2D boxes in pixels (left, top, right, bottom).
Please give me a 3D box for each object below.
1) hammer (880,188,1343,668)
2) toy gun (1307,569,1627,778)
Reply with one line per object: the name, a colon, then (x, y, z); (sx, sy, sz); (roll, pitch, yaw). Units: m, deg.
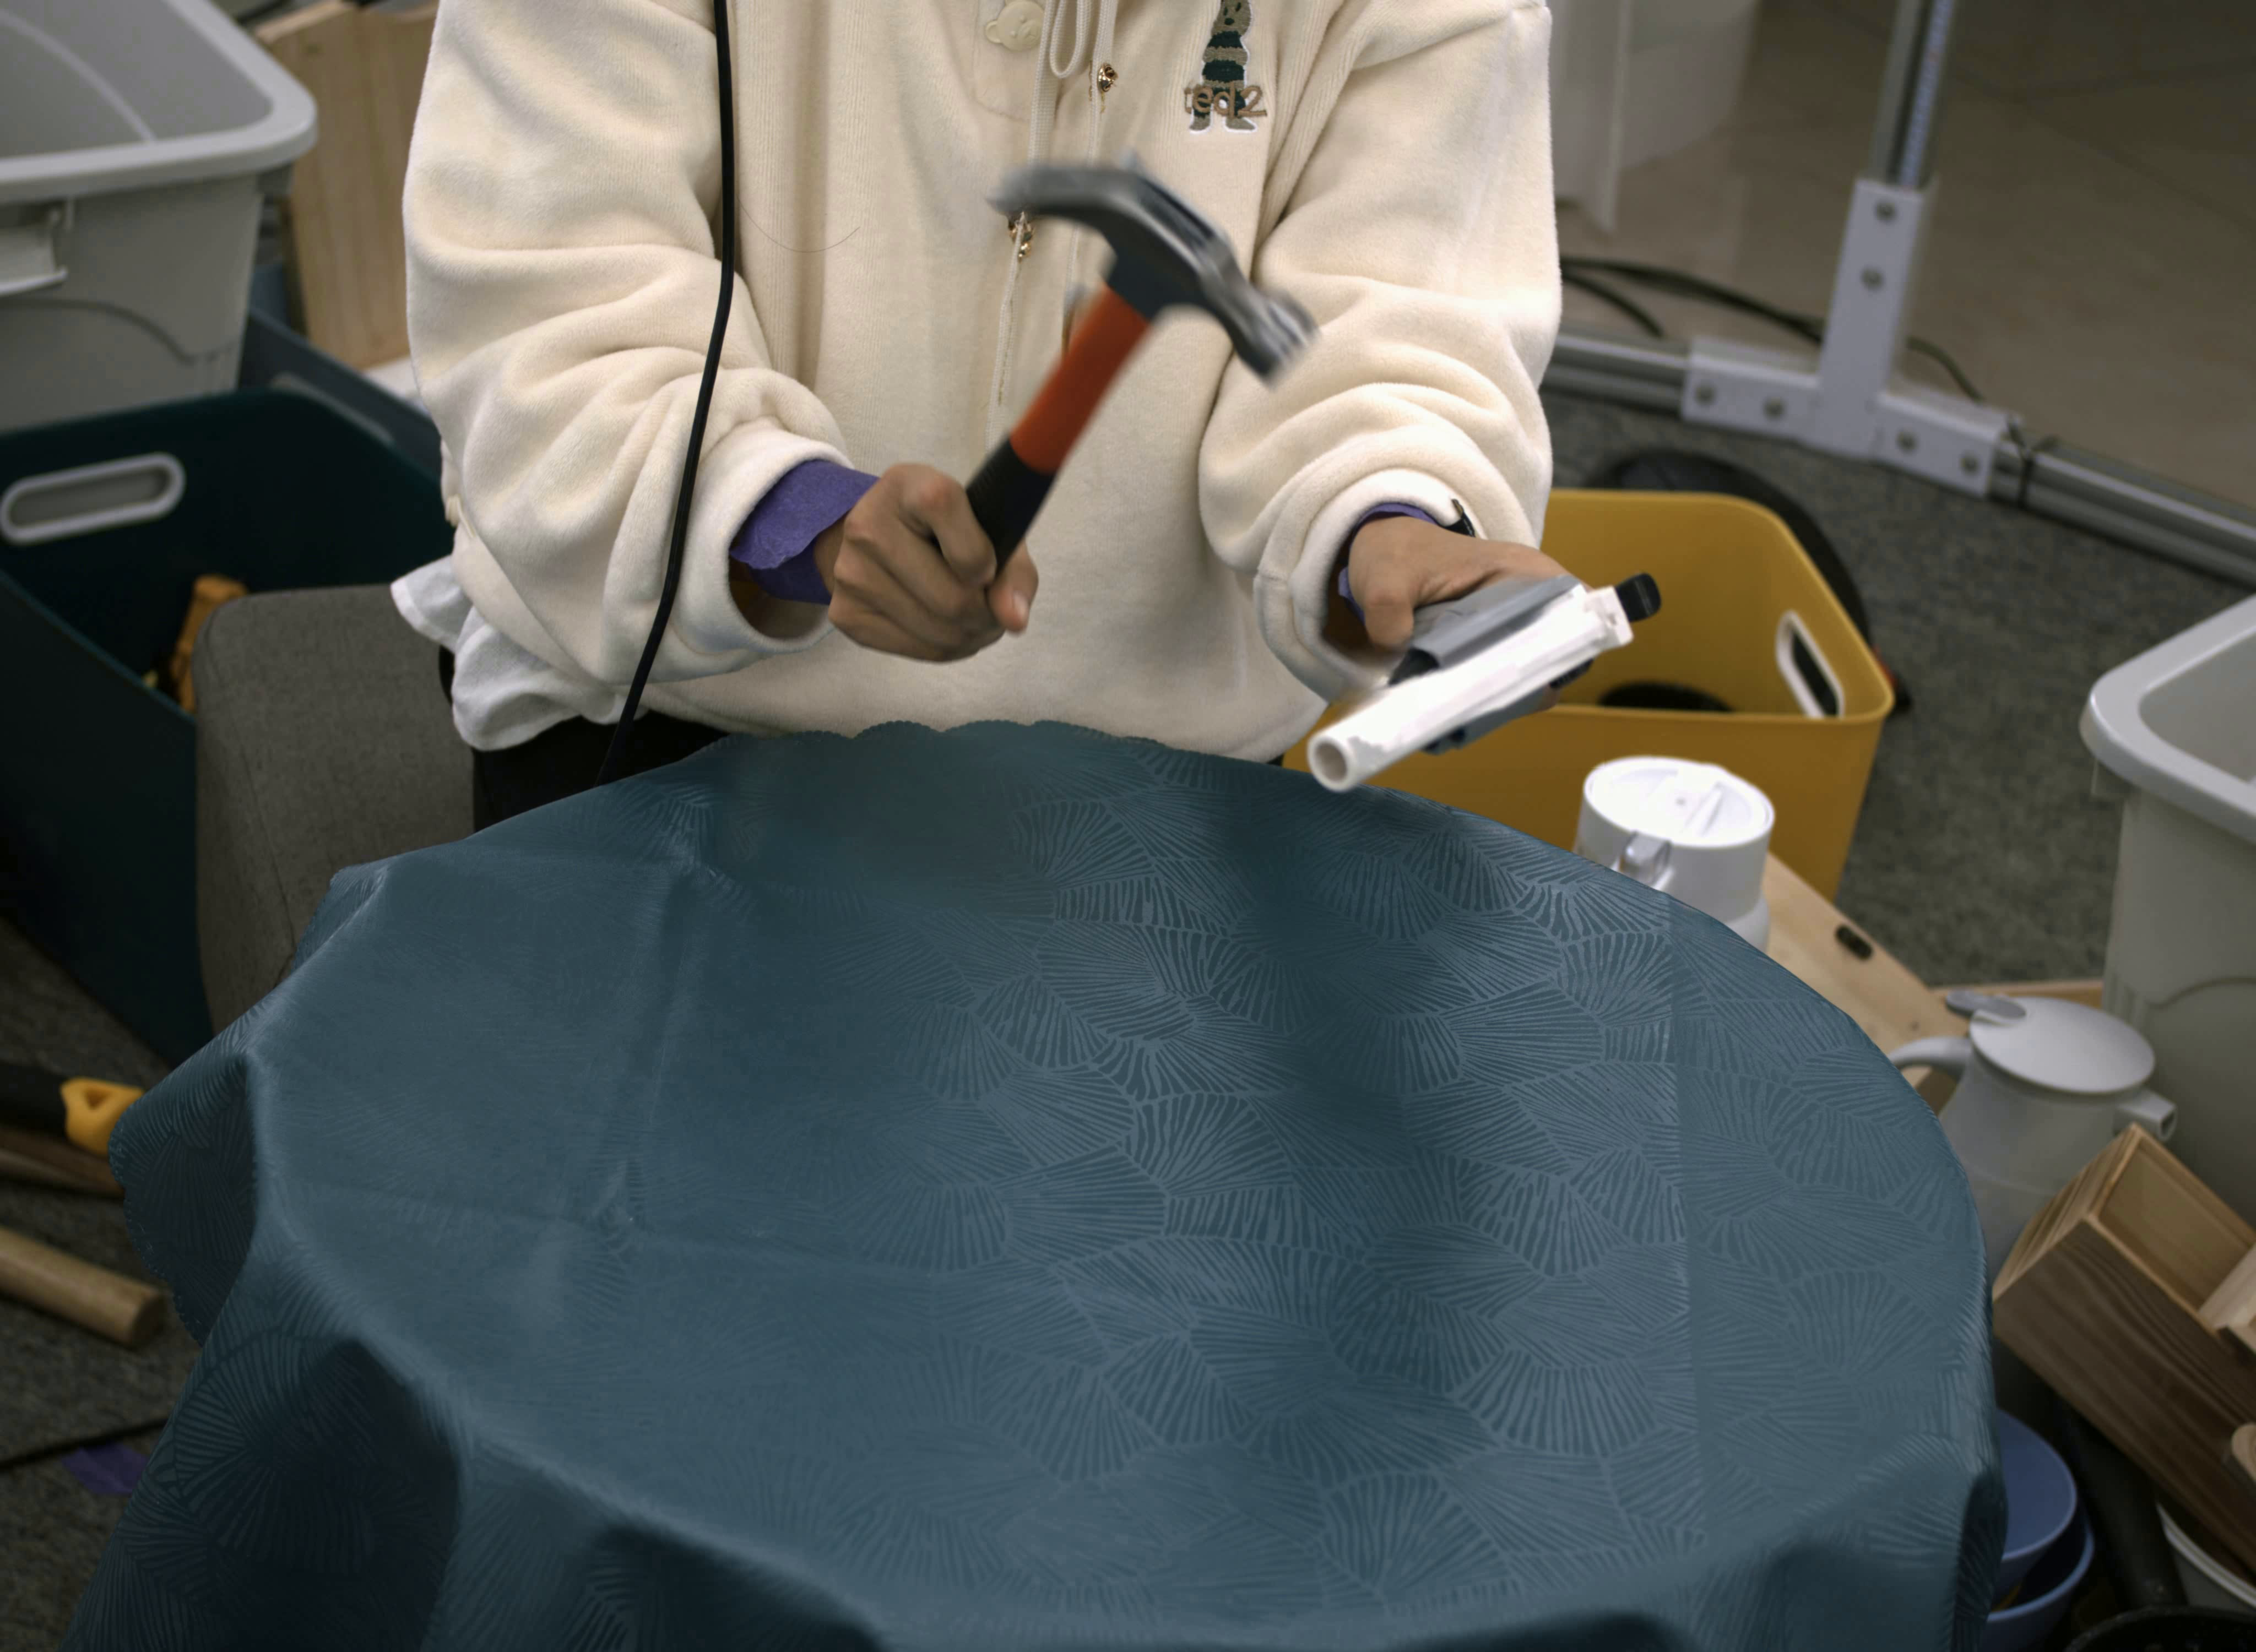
hammer: (-0.027, -0.128, 1.813); (0.110, 0.277, 0.026); (36, 56, -3)
toy gun: (0.096, -0.051, 1.781); (0.142, 0.039, 0.208); (-13, 10, 44)
